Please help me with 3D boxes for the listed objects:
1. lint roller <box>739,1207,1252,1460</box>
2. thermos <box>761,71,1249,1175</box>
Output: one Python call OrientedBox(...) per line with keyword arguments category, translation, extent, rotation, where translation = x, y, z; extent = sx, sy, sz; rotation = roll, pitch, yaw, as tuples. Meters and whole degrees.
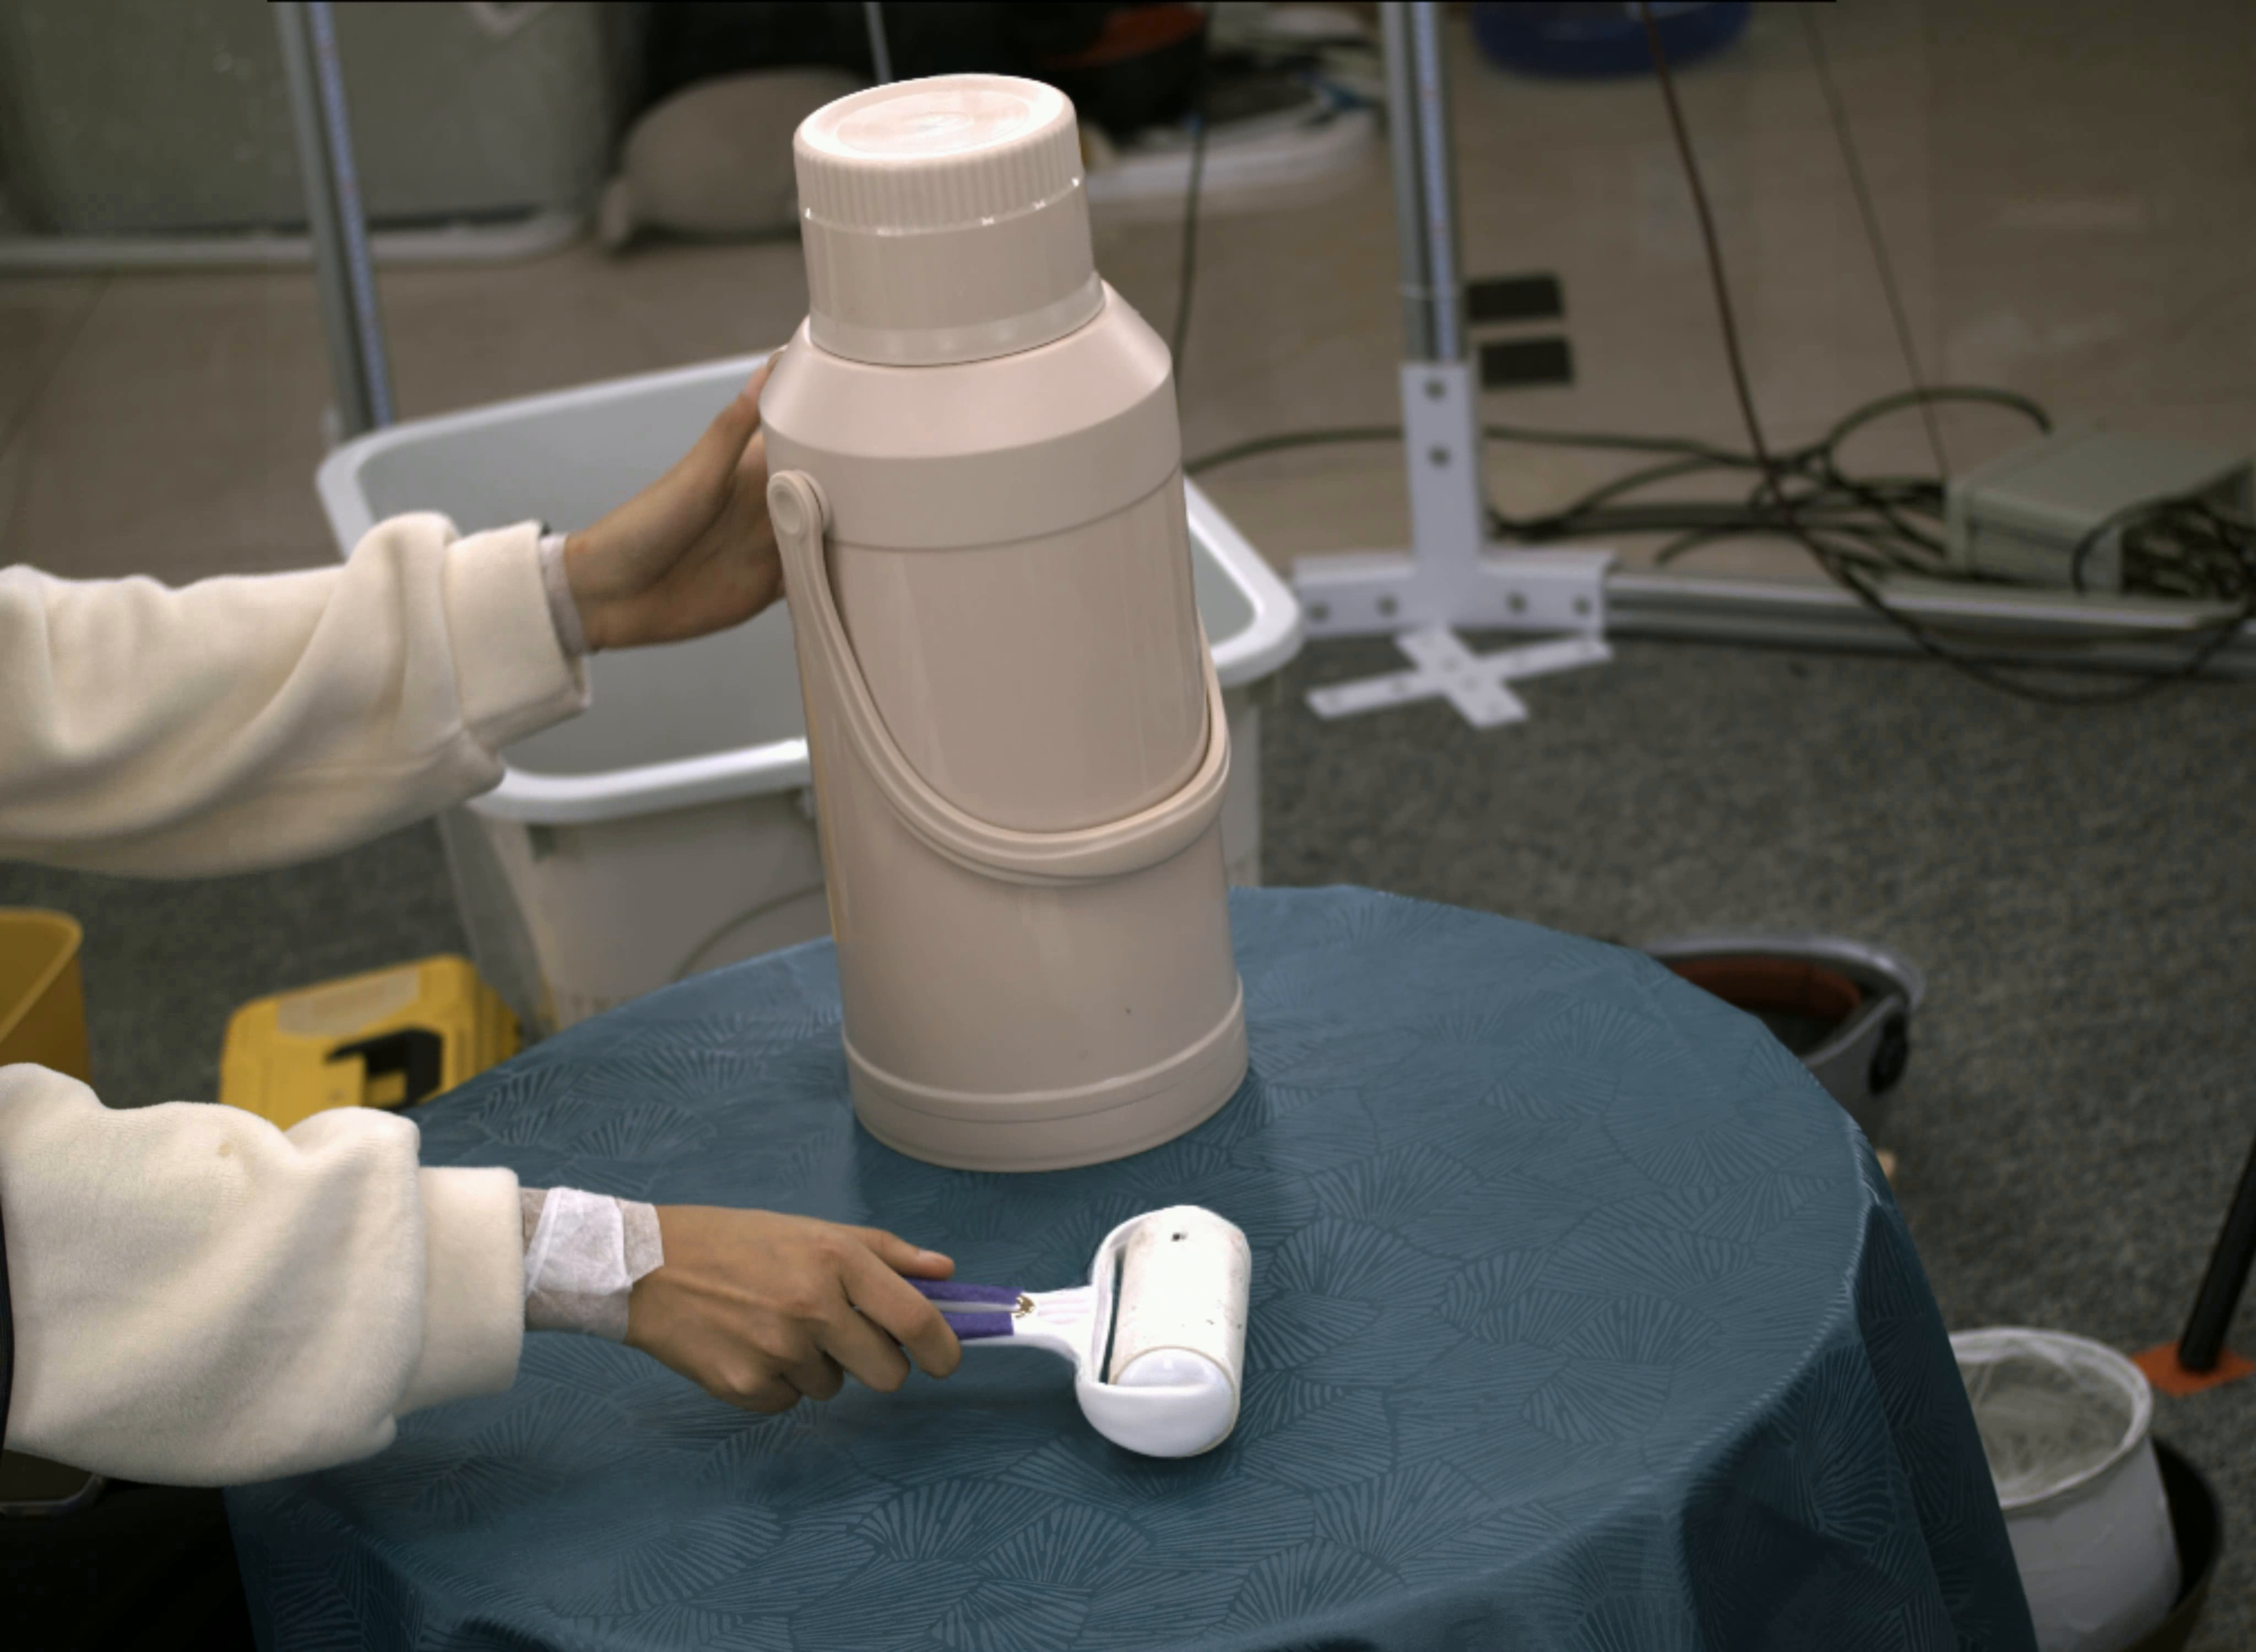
OrientedBox(category="lint roller", translation=(-0.046, 0.165, 2.005), extent=(0.180, 0.051, 0.131), rotation=(13, 27, 0))
OrientedBox(category="thermos", translation=(-0.058, -0.082, 2.161), extent=(0.174, 0.413, 0.205), rotation=(-25, 31, -33))
